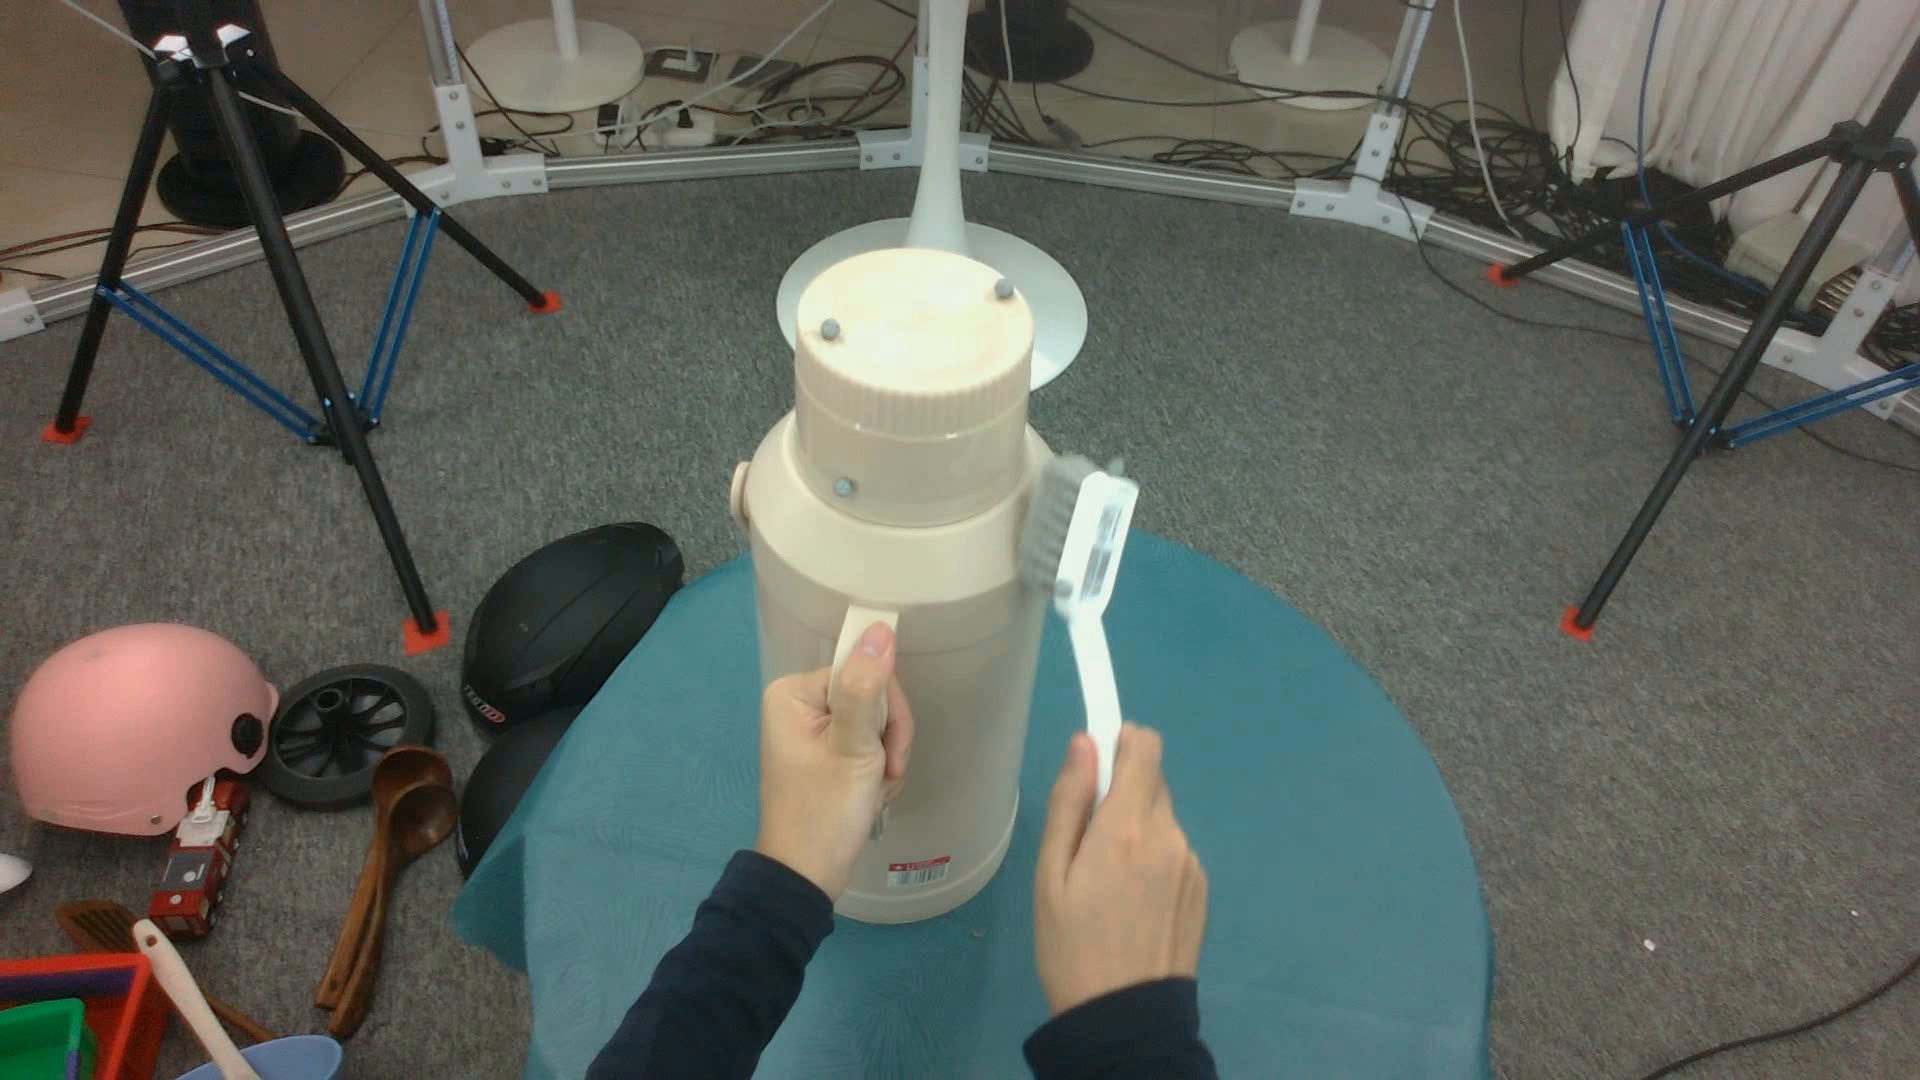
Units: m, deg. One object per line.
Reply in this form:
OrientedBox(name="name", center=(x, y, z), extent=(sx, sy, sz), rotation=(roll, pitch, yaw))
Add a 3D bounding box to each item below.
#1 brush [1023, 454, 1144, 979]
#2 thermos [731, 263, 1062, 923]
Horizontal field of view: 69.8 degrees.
OrientedBox(name="brush", center=(0.058, 0.081, 0.643), extent=(0.050, 0.243, 0.034), rotation=(0, 4, 31))
OrientedBox(name="thermos", center=(-0.039, 0.054, 0.747), extent=(0.175, 0.404, 0.208), rotation=(10, 46, 2))
